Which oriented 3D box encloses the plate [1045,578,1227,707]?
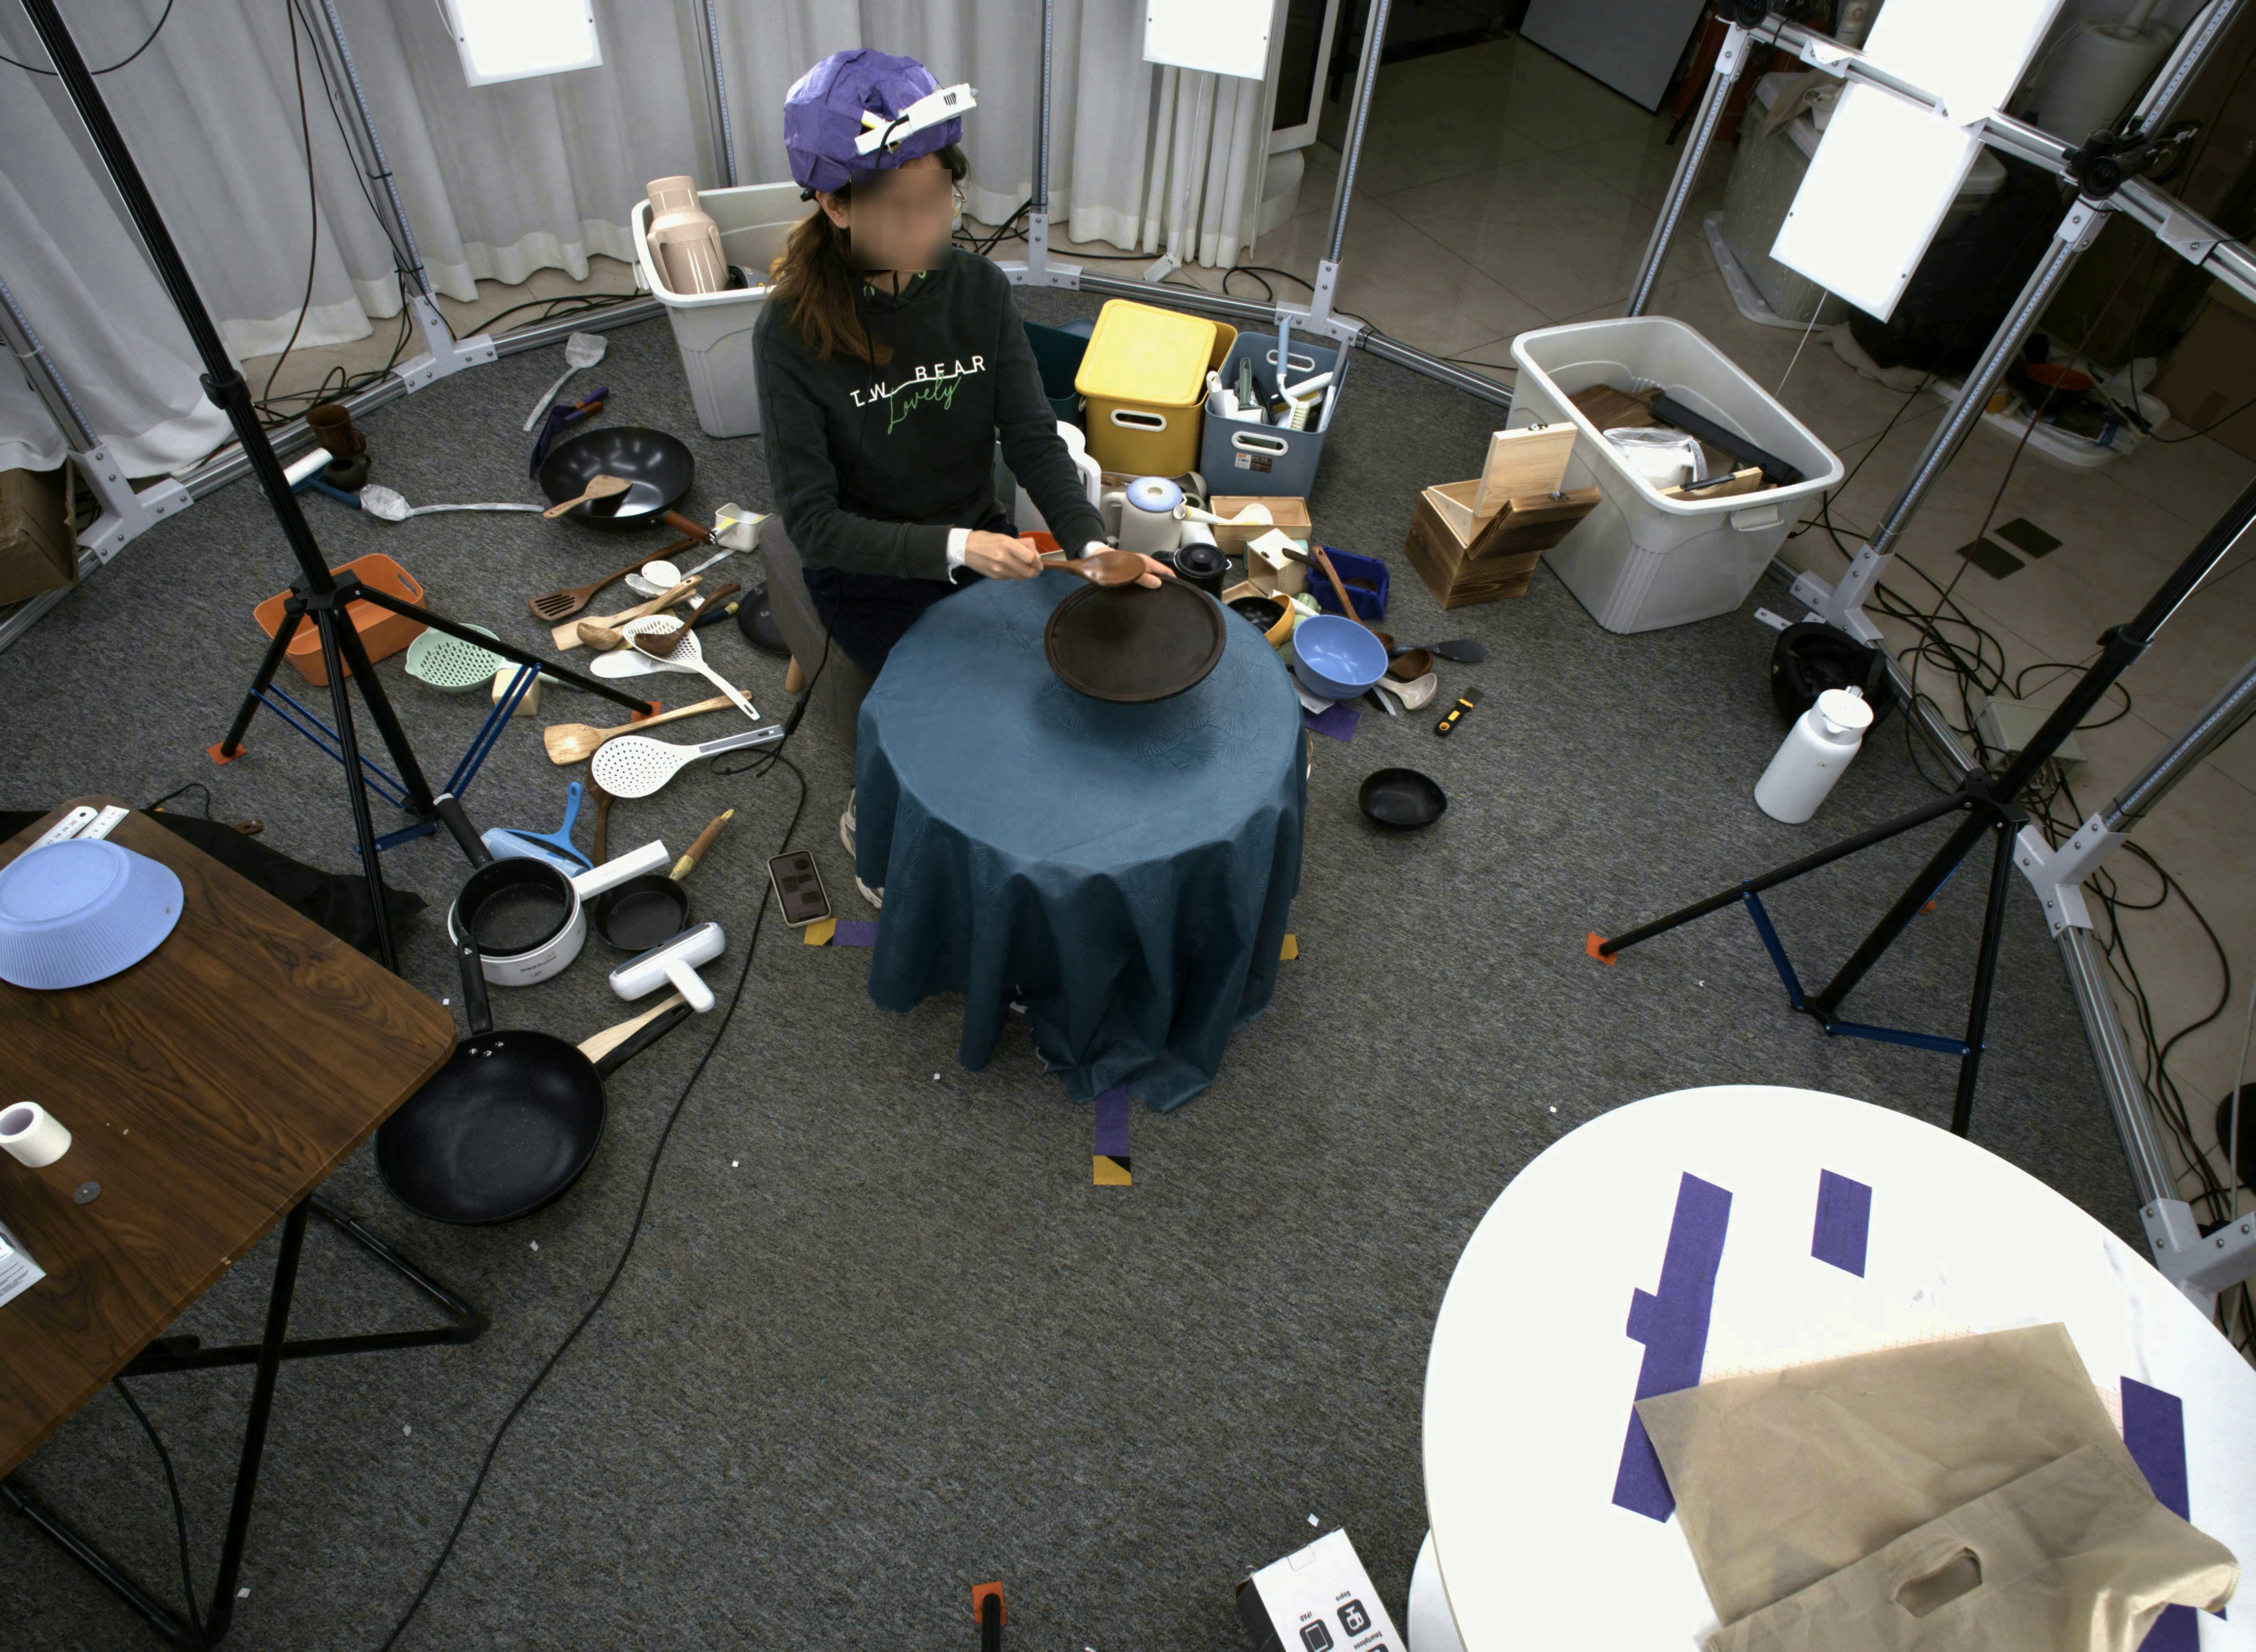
[{"bbox_3d":[0.012,-0.258,1.792,0.255,0.028,0.261,-2,50,2],"label":"plate"}]

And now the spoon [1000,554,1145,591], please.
[{"bbox_3d":[-0.079,-0.360,1.811,0.217,0.017,0.077,8,48,18],"label":"spoon"}]
